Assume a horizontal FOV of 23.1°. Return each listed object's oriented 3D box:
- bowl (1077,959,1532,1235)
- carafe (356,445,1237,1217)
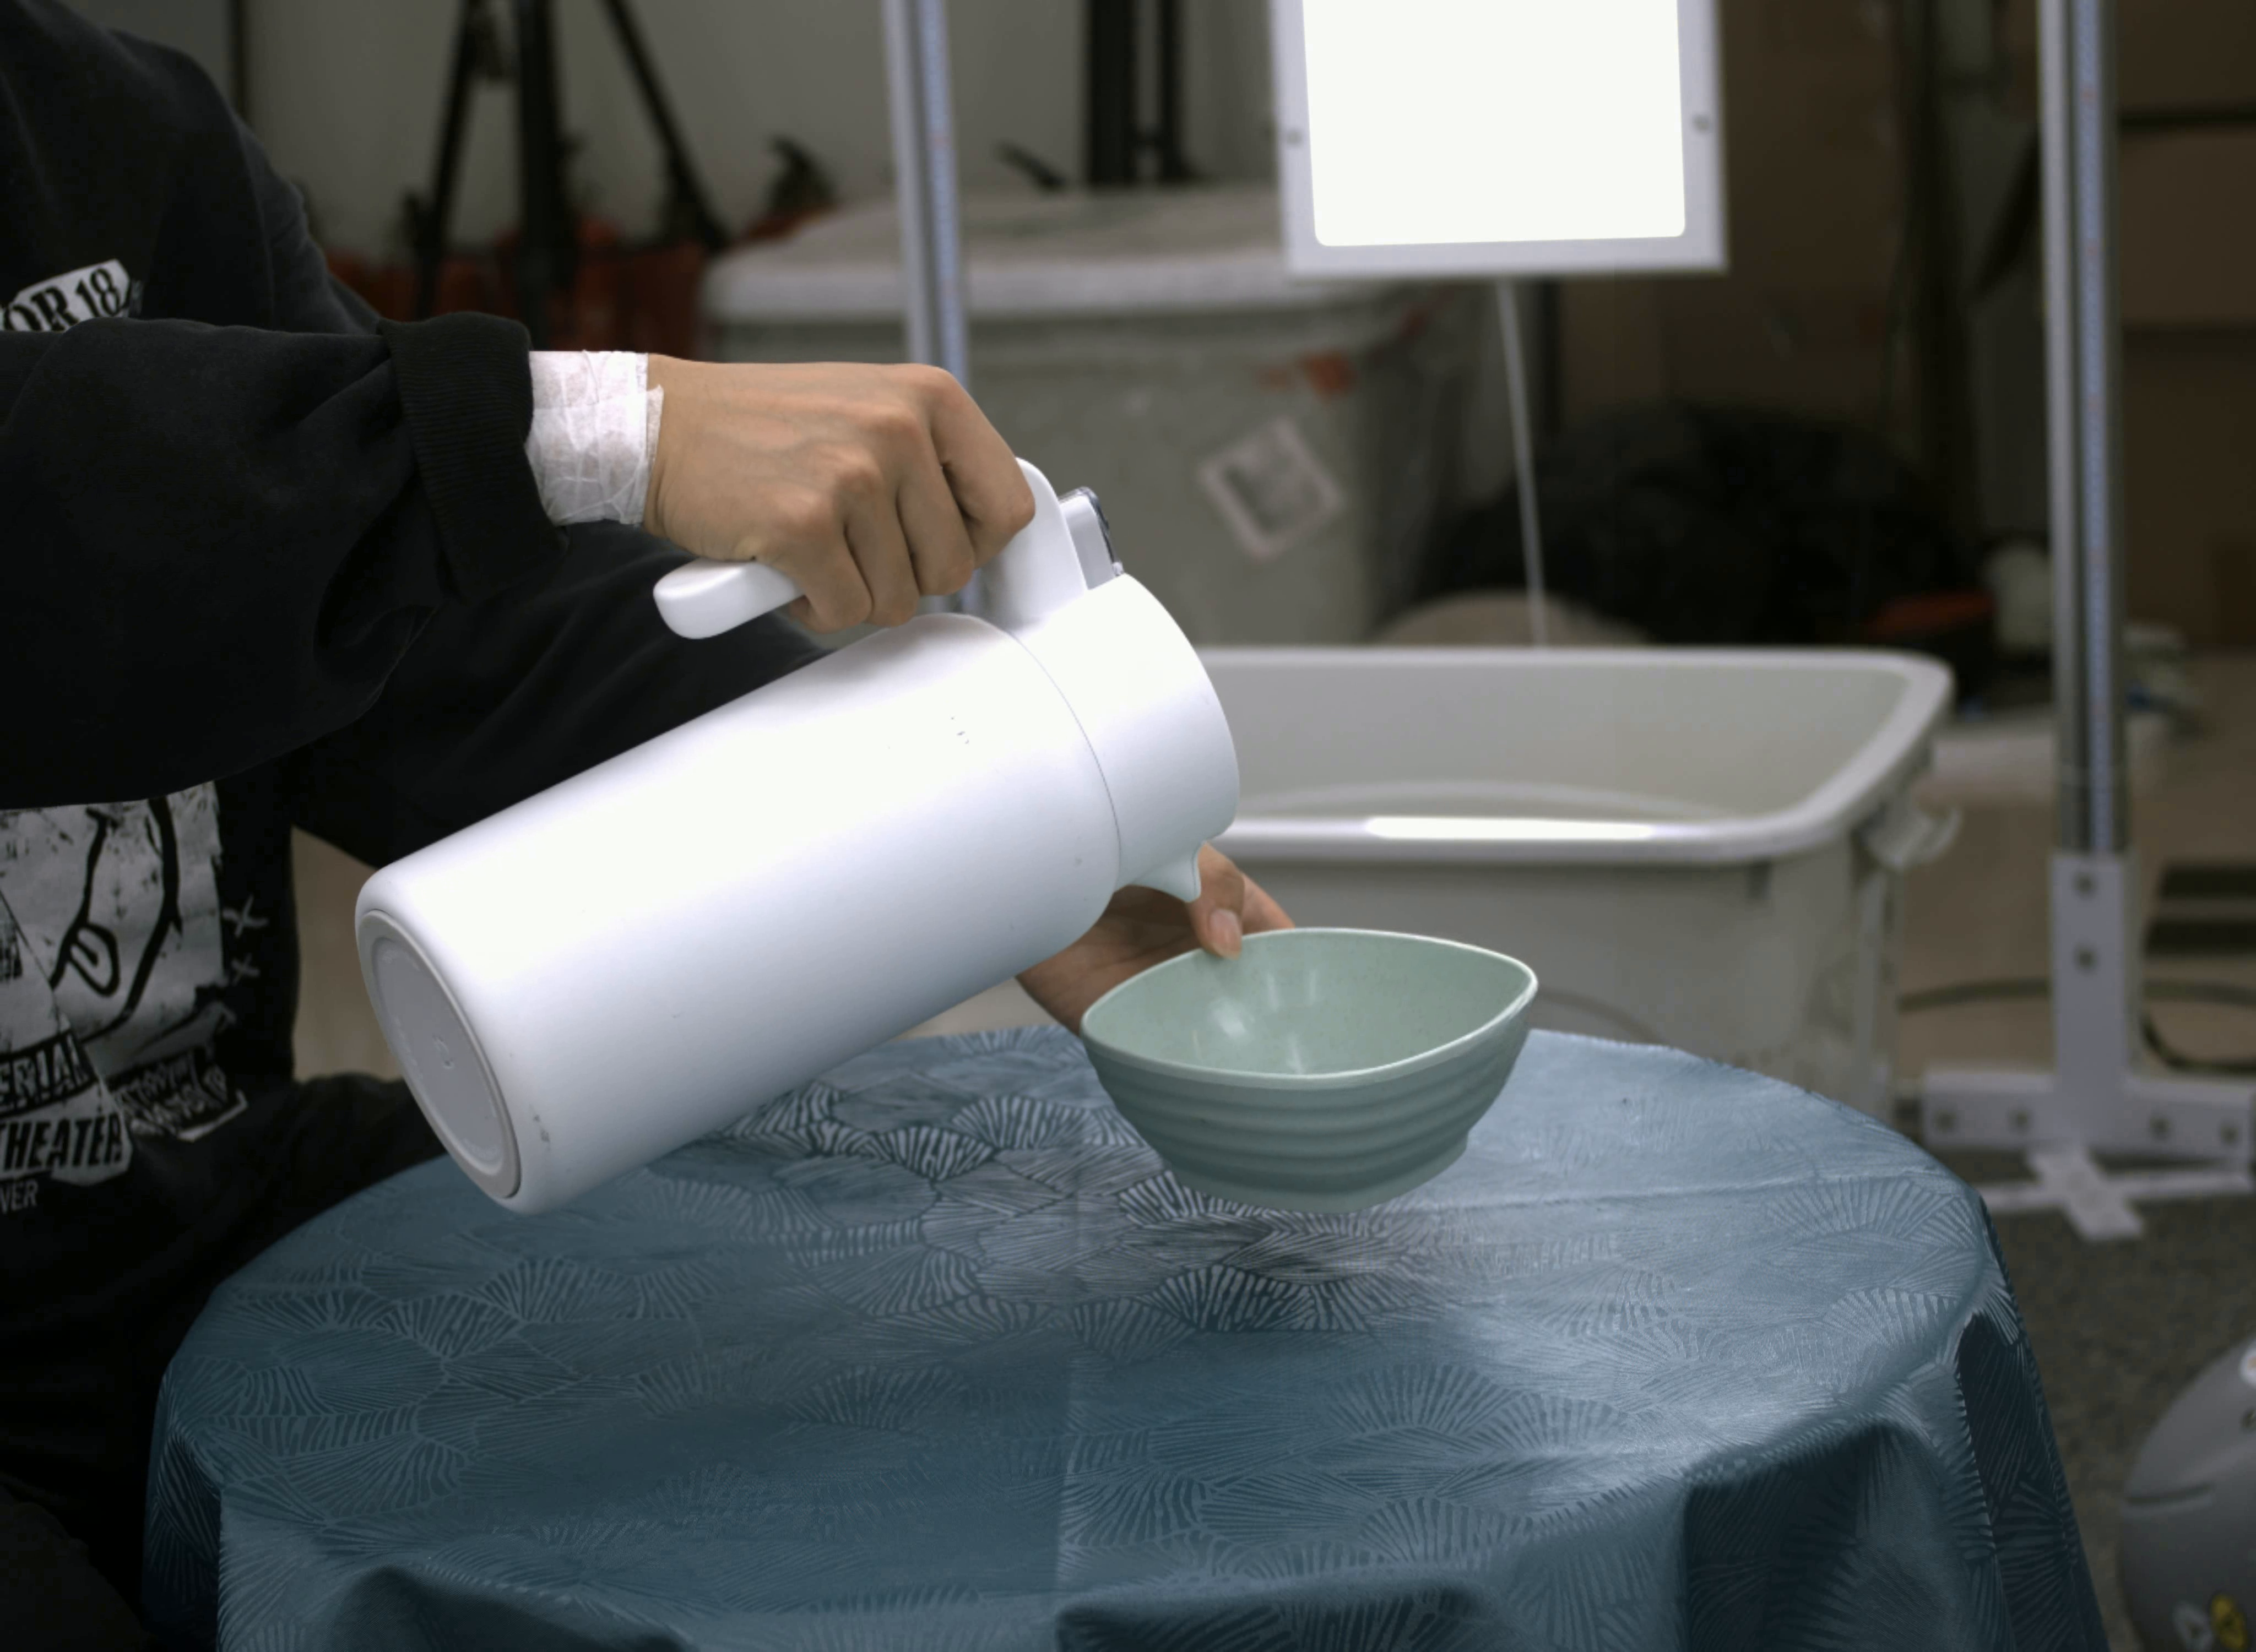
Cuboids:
[{"bbox_3d":[0.062,0.091,1.792,0.151,0.059,0.151,-10,14,1],"label":"bowl"},{"bbox_3d":[-0.105,-0.001,1.713,0.264,0.173,0.126,-26,23,-18],"label":"carafe"}]
